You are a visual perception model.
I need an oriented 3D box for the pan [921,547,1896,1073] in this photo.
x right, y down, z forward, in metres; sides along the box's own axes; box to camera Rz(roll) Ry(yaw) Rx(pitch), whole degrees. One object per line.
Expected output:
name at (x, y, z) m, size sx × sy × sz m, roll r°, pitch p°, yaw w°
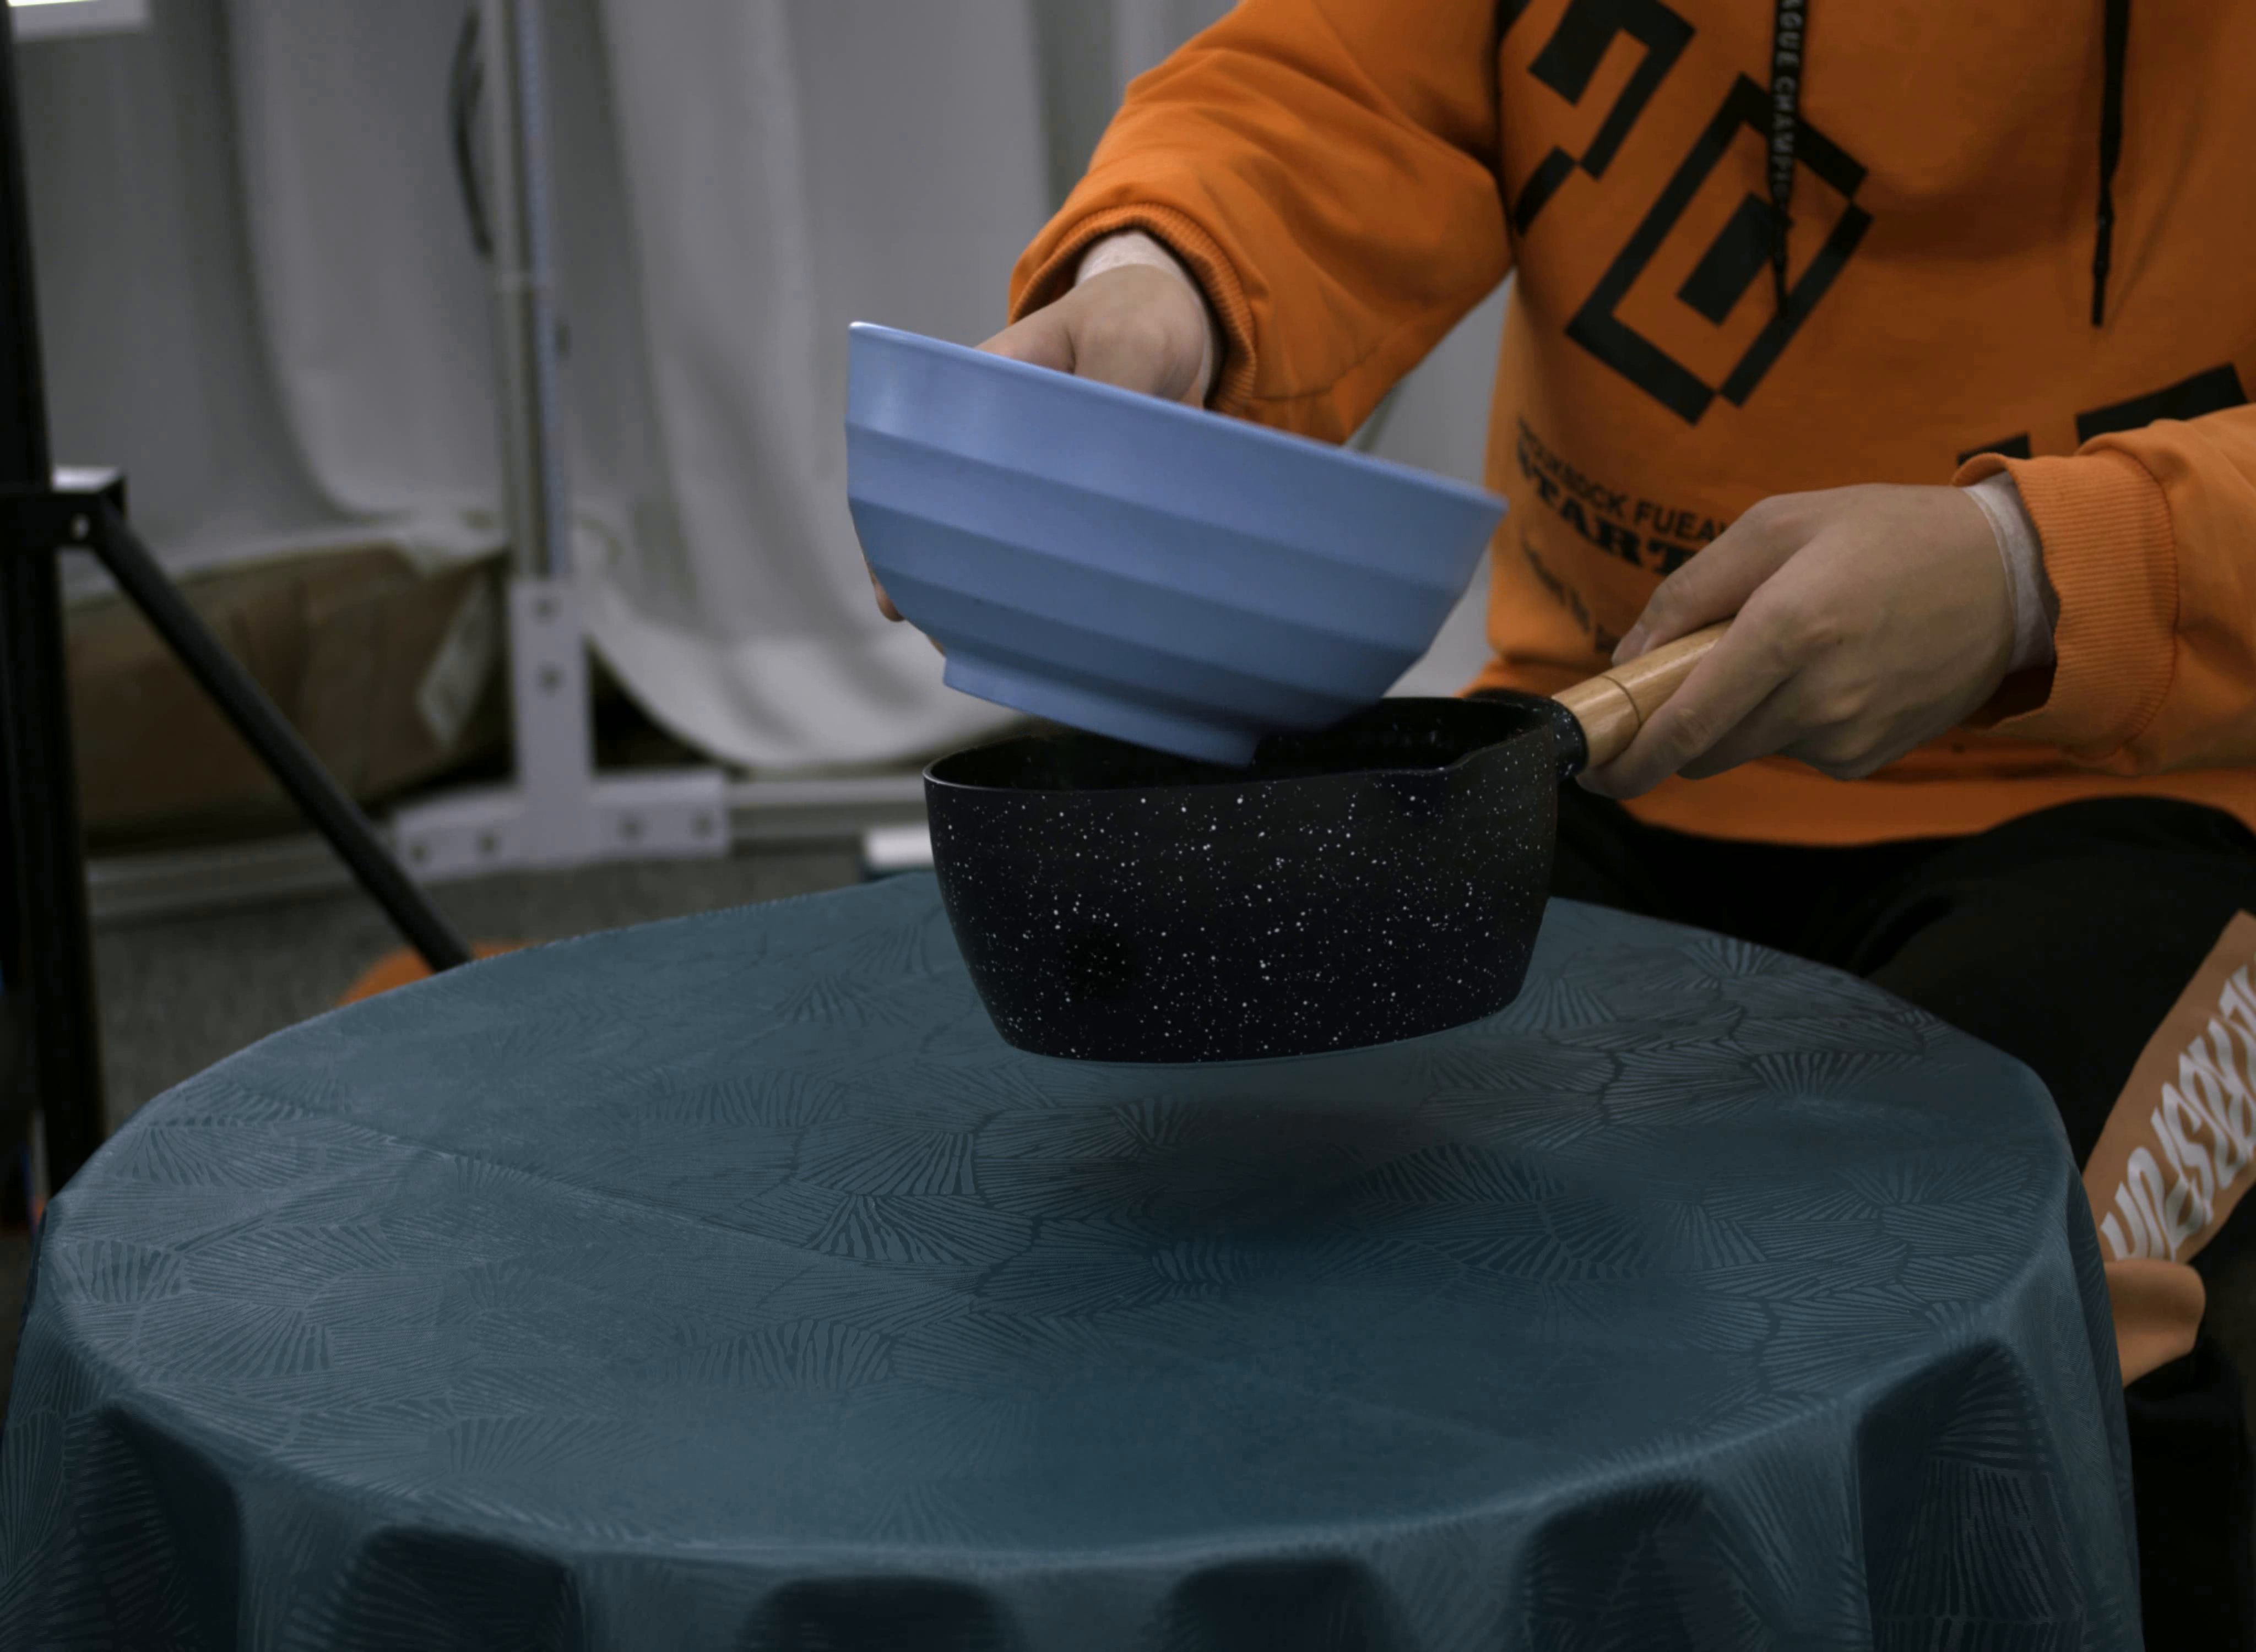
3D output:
pan at (0.099, -0.006, 1.589) m, size 0.335 × 0.108 × 0.212 m, roll -11°, pitch 9°, yaw -32°

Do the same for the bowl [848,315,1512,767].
bowl at (0.003, -0.073, 1.524) m, size 0.195 × 0.096 × 0.197 m, roll 16°, pitch 3°, yaw -2°
